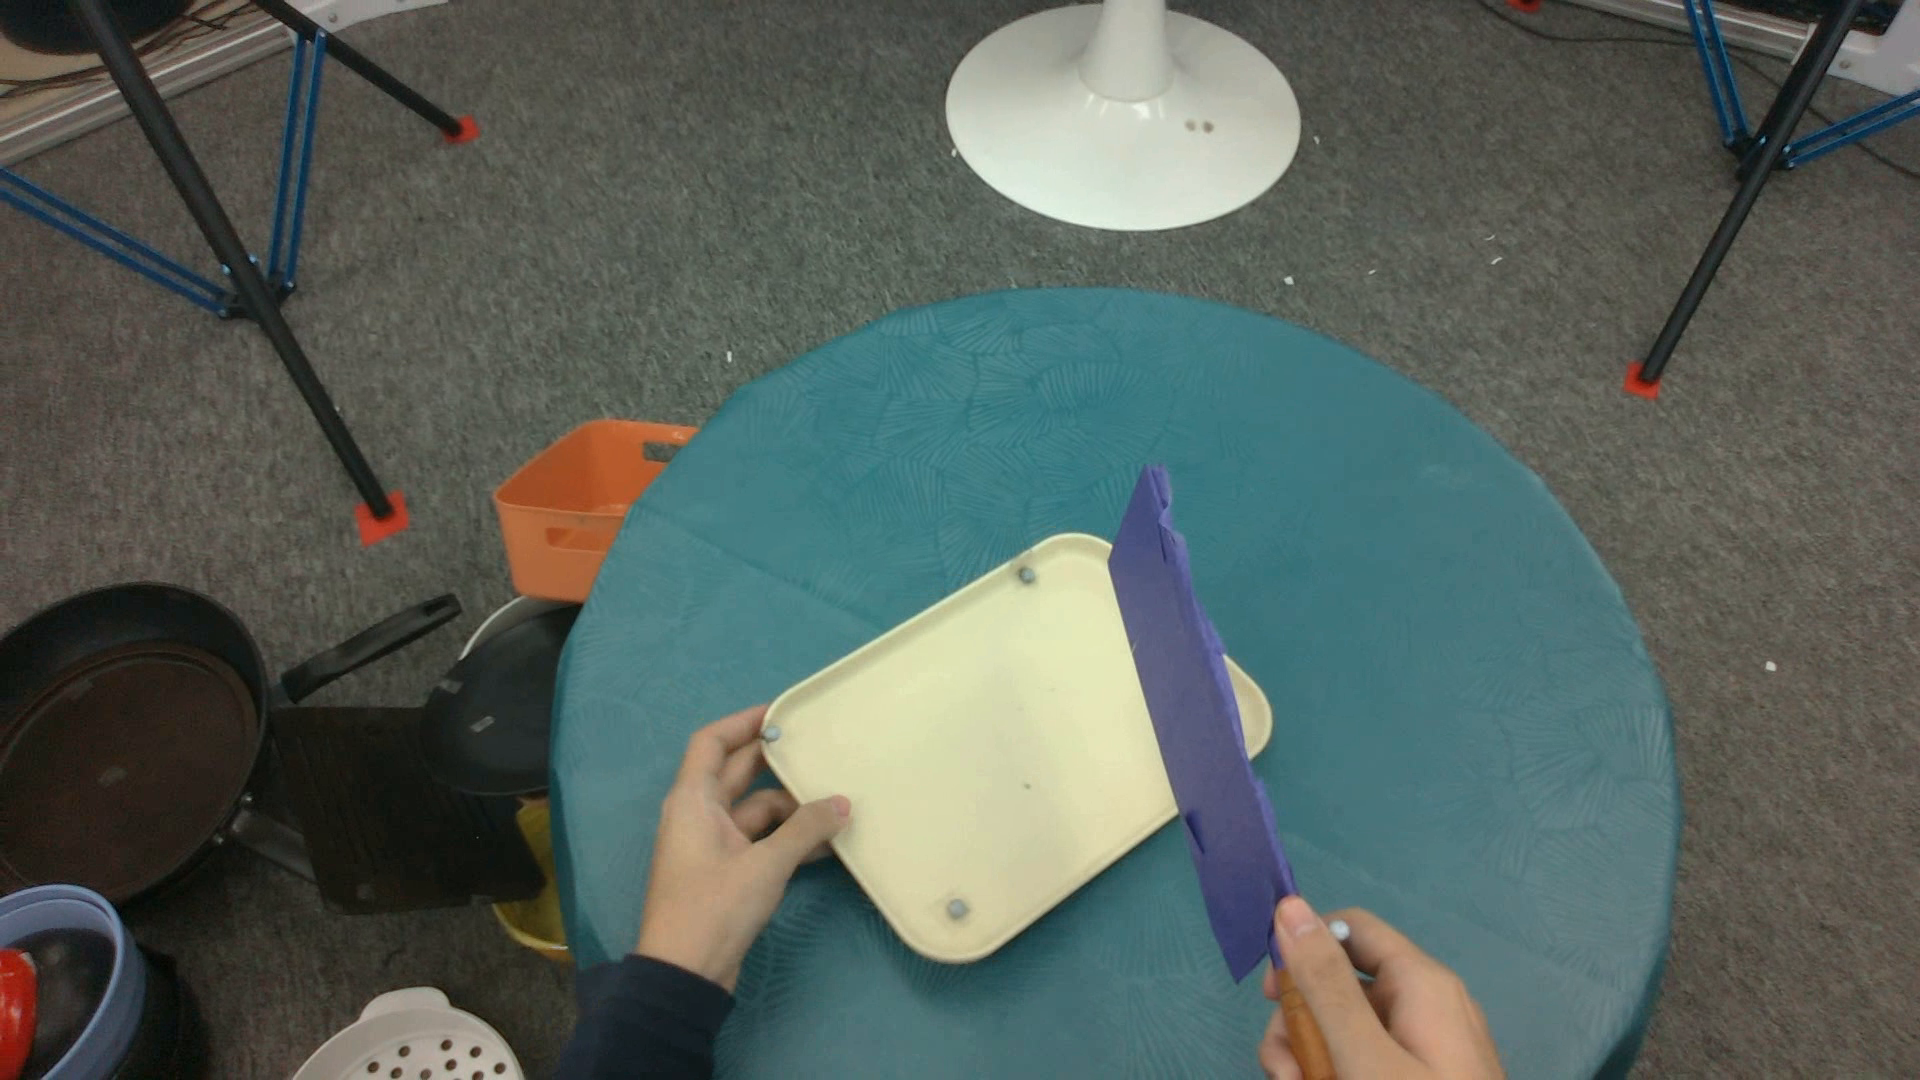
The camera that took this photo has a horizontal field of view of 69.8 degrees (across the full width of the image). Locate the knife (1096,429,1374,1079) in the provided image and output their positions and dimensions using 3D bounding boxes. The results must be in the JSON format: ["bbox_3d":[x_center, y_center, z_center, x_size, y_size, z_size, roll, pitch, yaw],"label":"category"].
[{"bbox_3d":[0.105,0.108,0.559,0.032,0.103,0.316,-5,59,-10],"label":"knife"}]

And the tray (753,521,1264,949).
[{"bbox_3d":[0.028,0.091,0.714,0.240,0.017,0.171,-29,61,-27],"label":"tray"}]
